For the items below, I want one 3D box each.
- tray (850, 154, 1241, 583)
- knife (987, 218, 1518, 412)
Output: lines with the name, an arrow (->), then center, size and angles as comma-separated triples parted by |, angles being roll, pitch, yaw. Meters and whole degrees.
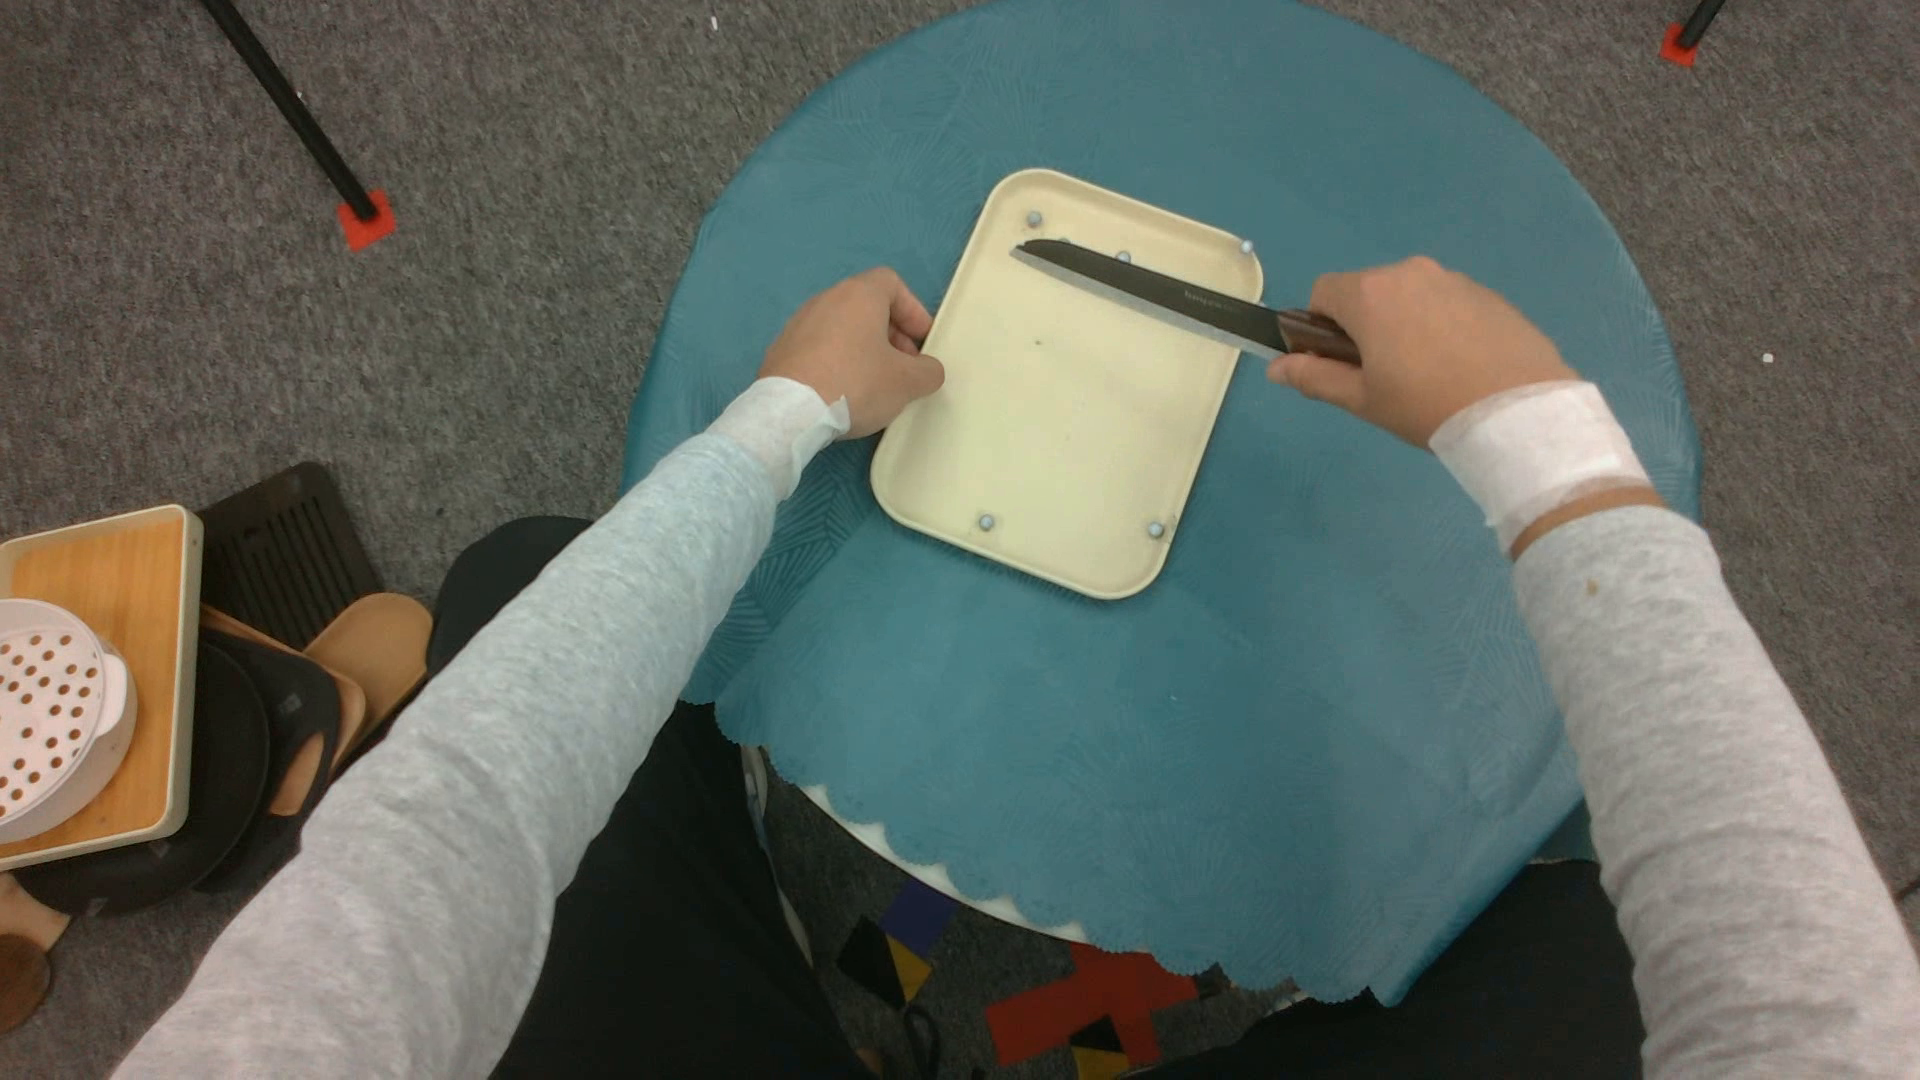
tray -> 0.051, -0.101, 0.783 | 0.171, 0.017, 0.240 | 21, 72, 4
knife -> 0.132, -0.117, 0.686 | 0.289, 0.050, 0.020 | 23, 71, 28
